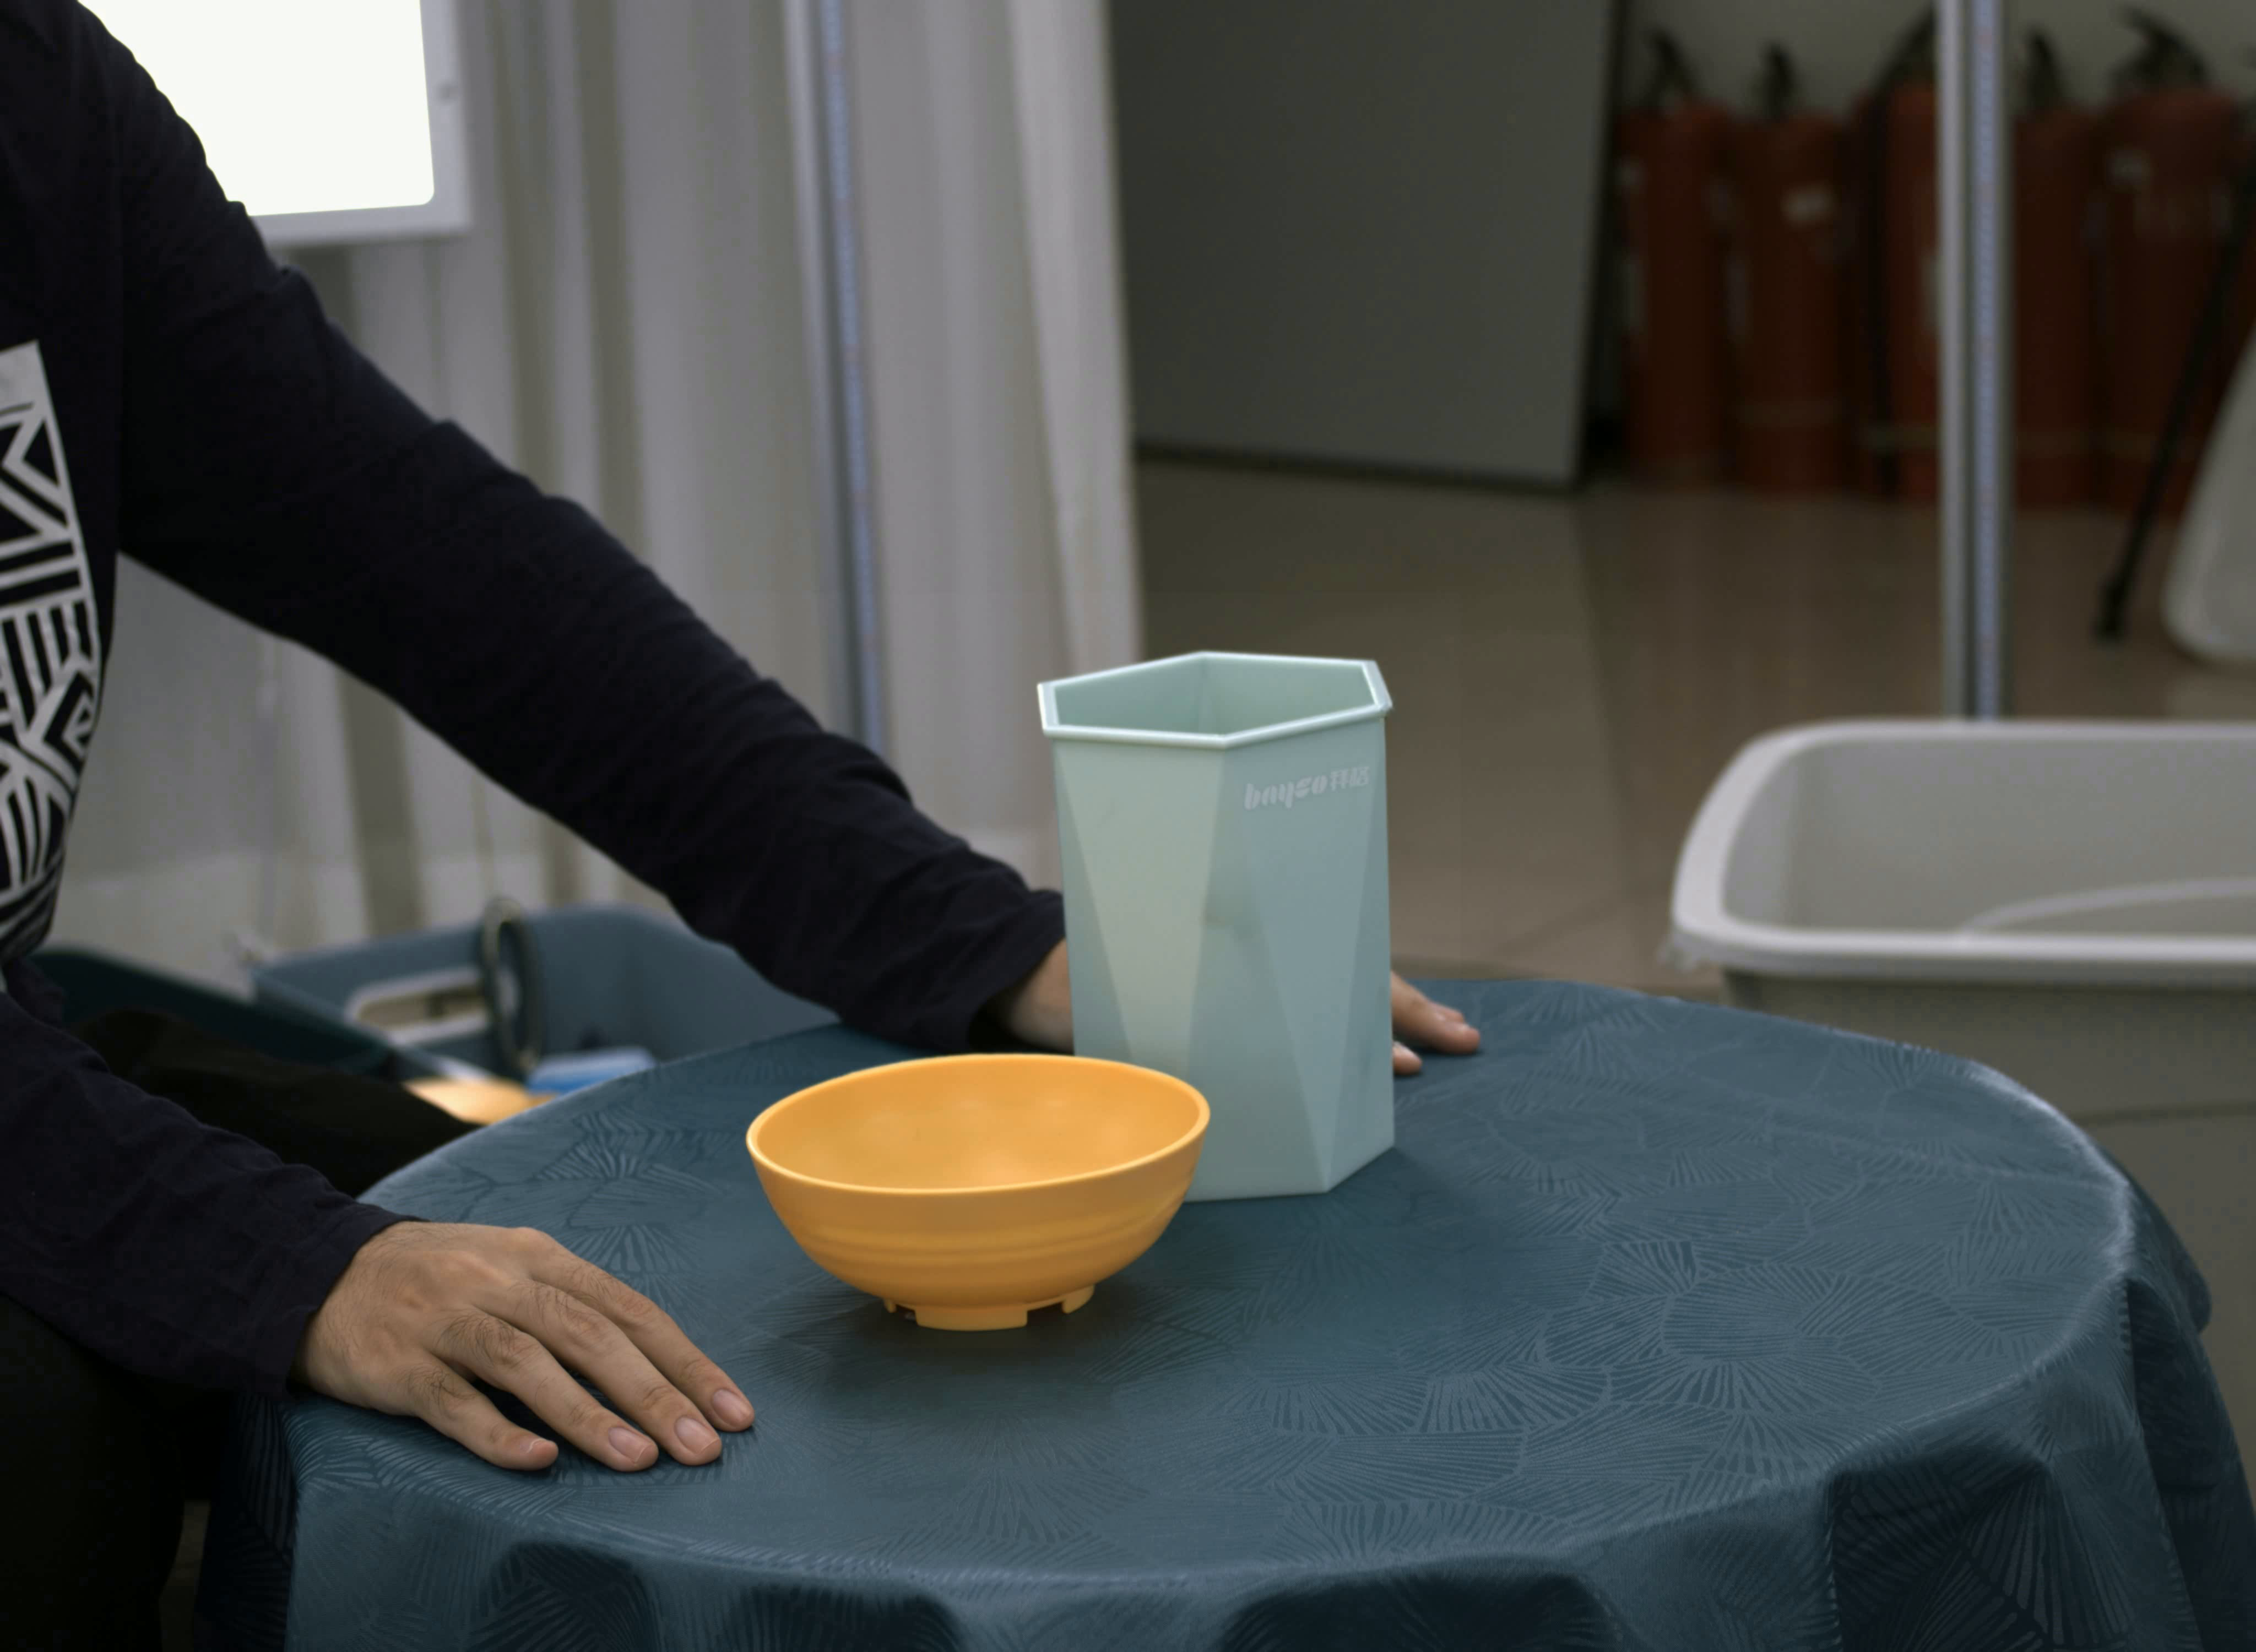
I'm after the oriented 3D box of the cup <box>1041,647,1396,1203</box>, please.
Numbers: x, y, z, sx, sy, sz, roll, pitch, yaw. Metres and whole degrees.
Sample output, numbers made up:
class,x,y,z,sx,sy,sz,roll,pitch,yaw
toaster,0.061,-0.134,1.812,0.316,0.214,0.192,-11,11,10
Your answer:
class,x,y,z,sx,sy,sz,roll,pitch,yaw
cup,0.034,0.032,1.783,0.128,0.165,0.116,-11,14,-31

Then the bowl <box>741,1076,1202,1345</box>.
class,x,y,z,sx,sy,sz,roll,pitch,yaw
bowl,-0.046,0.123,1.672,0.143,0.061,0.145,-5,11,0
